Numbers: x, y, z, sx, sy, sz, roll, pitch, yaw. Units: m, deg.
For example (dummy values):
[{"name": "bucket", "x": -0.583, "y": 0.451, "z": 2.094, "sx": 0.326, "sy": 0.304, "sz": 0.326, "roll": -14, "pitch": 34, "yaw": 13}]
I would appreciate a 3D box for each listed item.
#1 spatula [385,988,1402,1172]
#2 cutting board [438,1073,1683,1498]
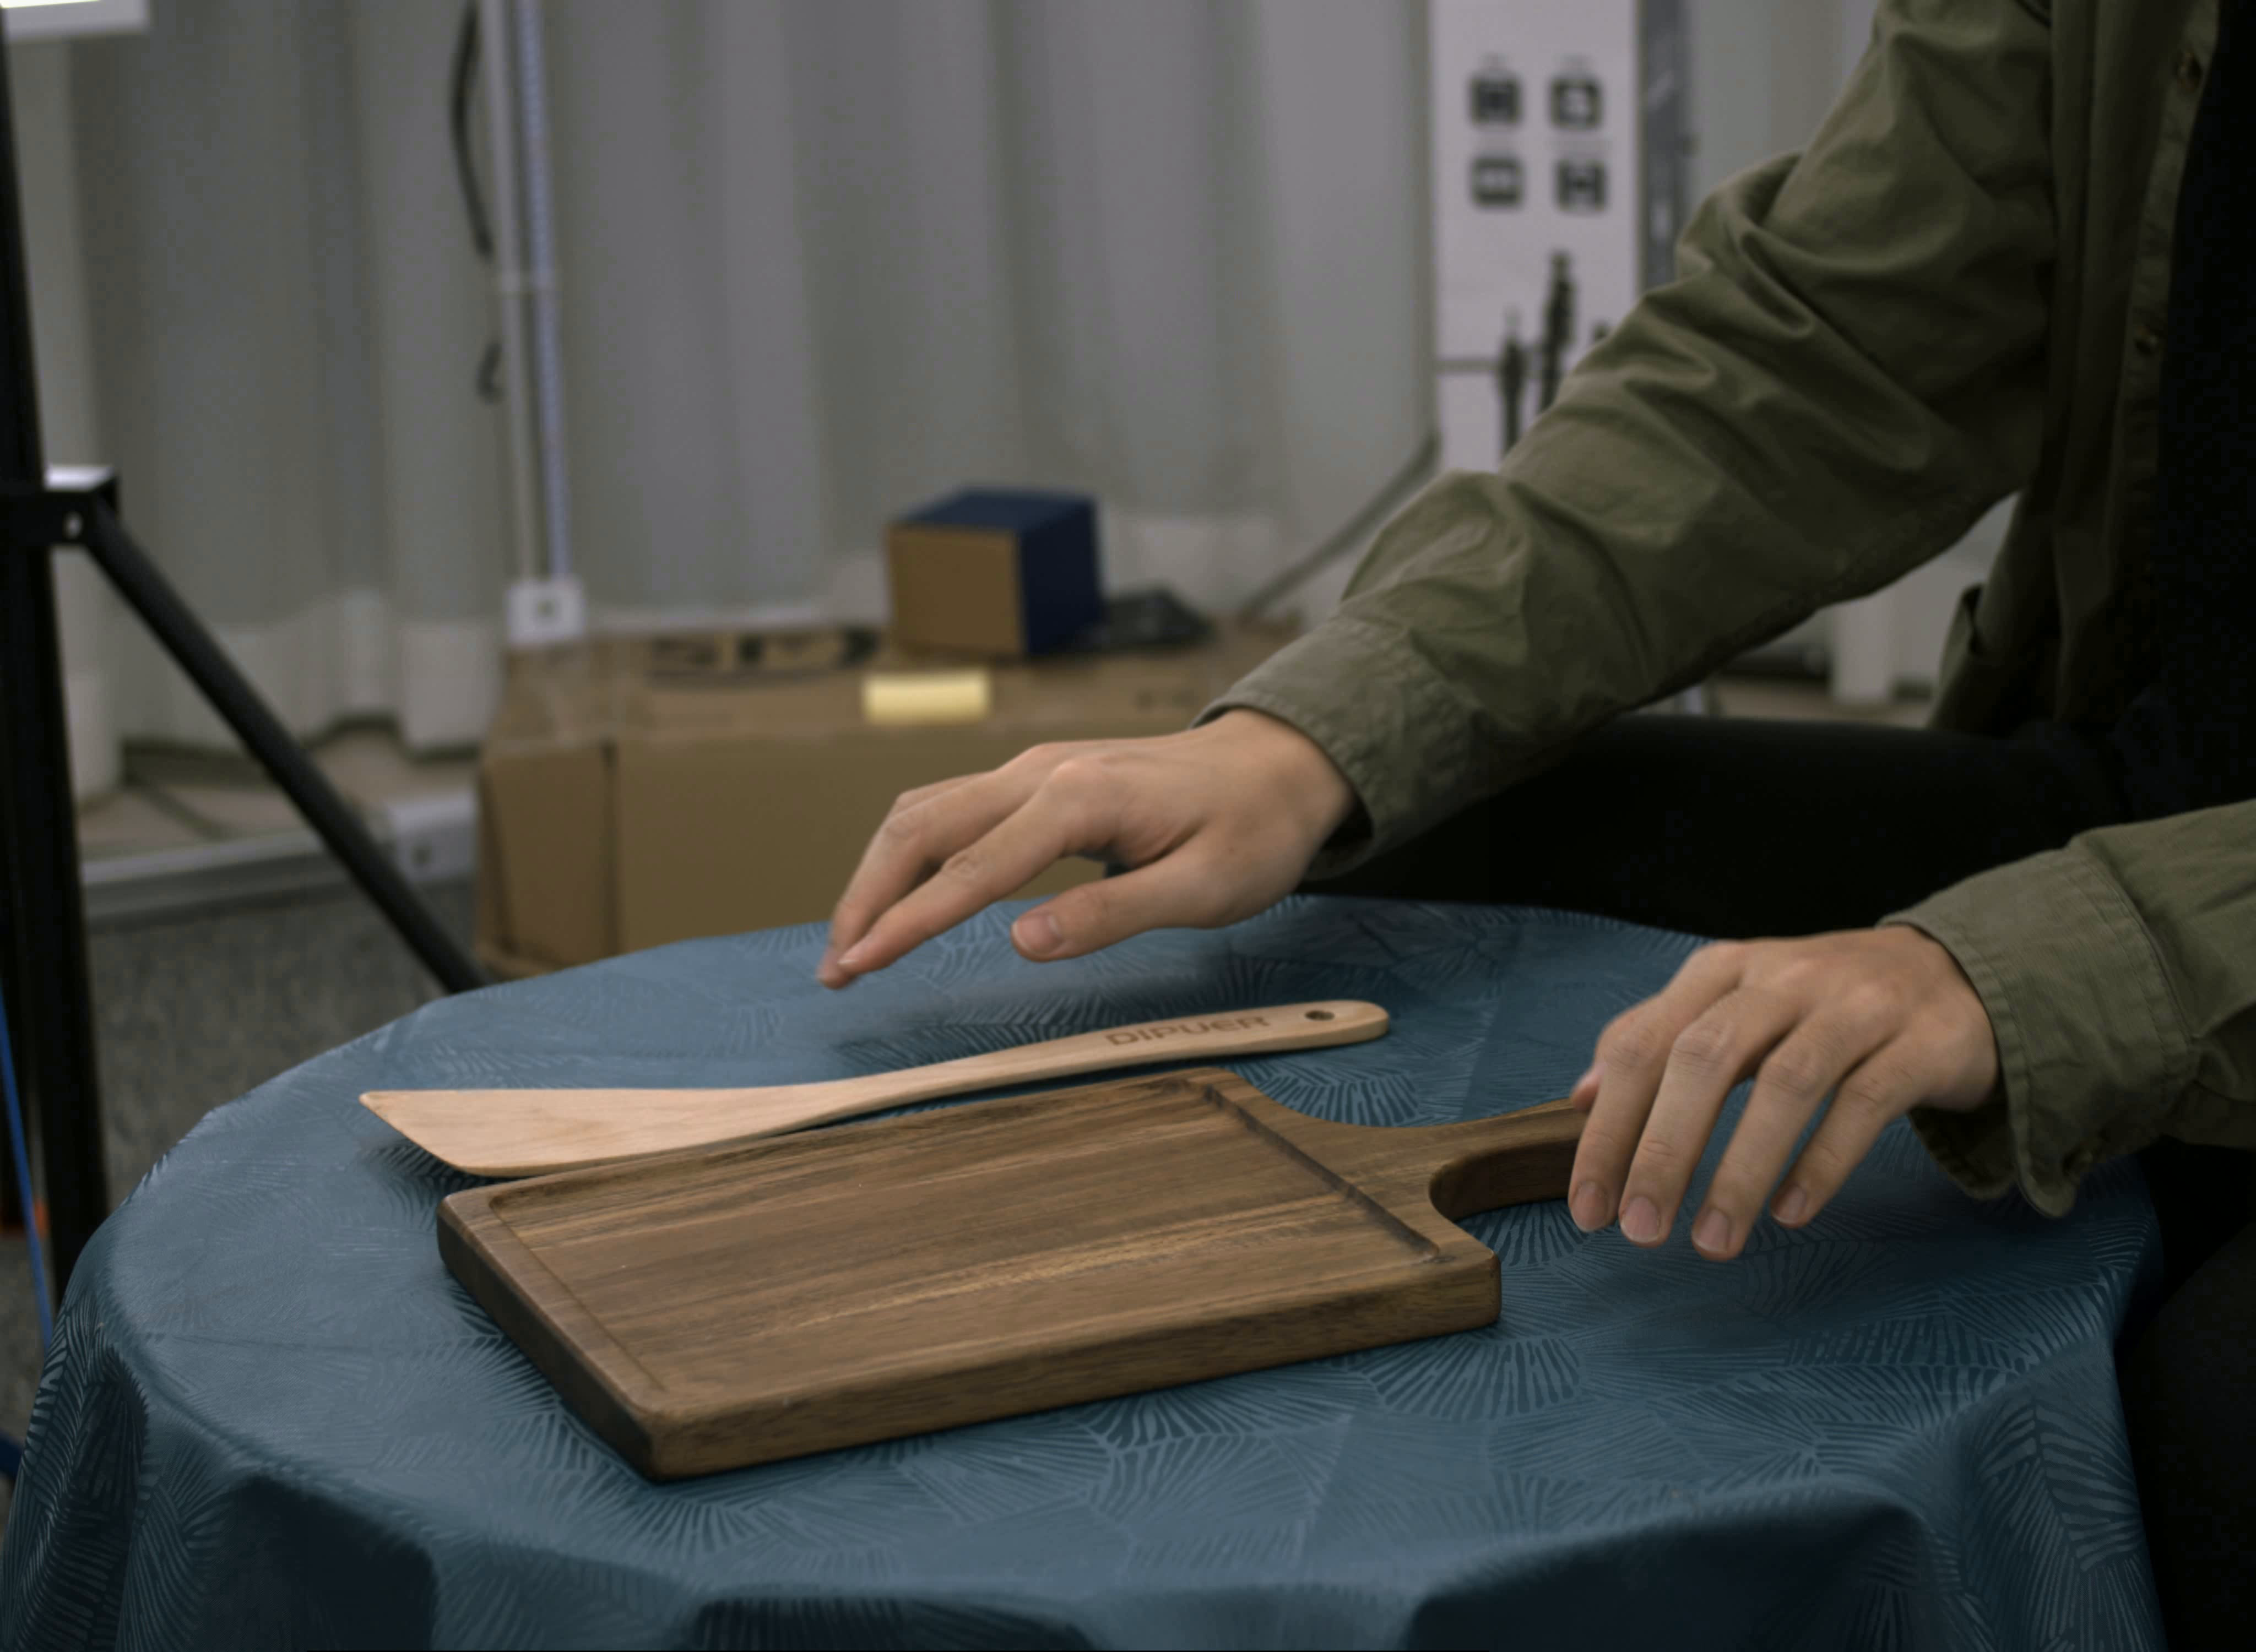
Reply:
[{"name": "spatula", "x": -0.064, "y": 0.075, "z": 1.655, "sx": 0.322, "sy": 0.016, "sz": 0.081, "roll": -8, "pitch": 17, "yaw": -18}, {"name": "cutting board", "x": -0.001, "y": 0.117, "z": 1.493, "sx": 0.346, "sy": 0.023, "sz": 0.205, "roll": -8, "pitch": 17, "yaw": -19}]
